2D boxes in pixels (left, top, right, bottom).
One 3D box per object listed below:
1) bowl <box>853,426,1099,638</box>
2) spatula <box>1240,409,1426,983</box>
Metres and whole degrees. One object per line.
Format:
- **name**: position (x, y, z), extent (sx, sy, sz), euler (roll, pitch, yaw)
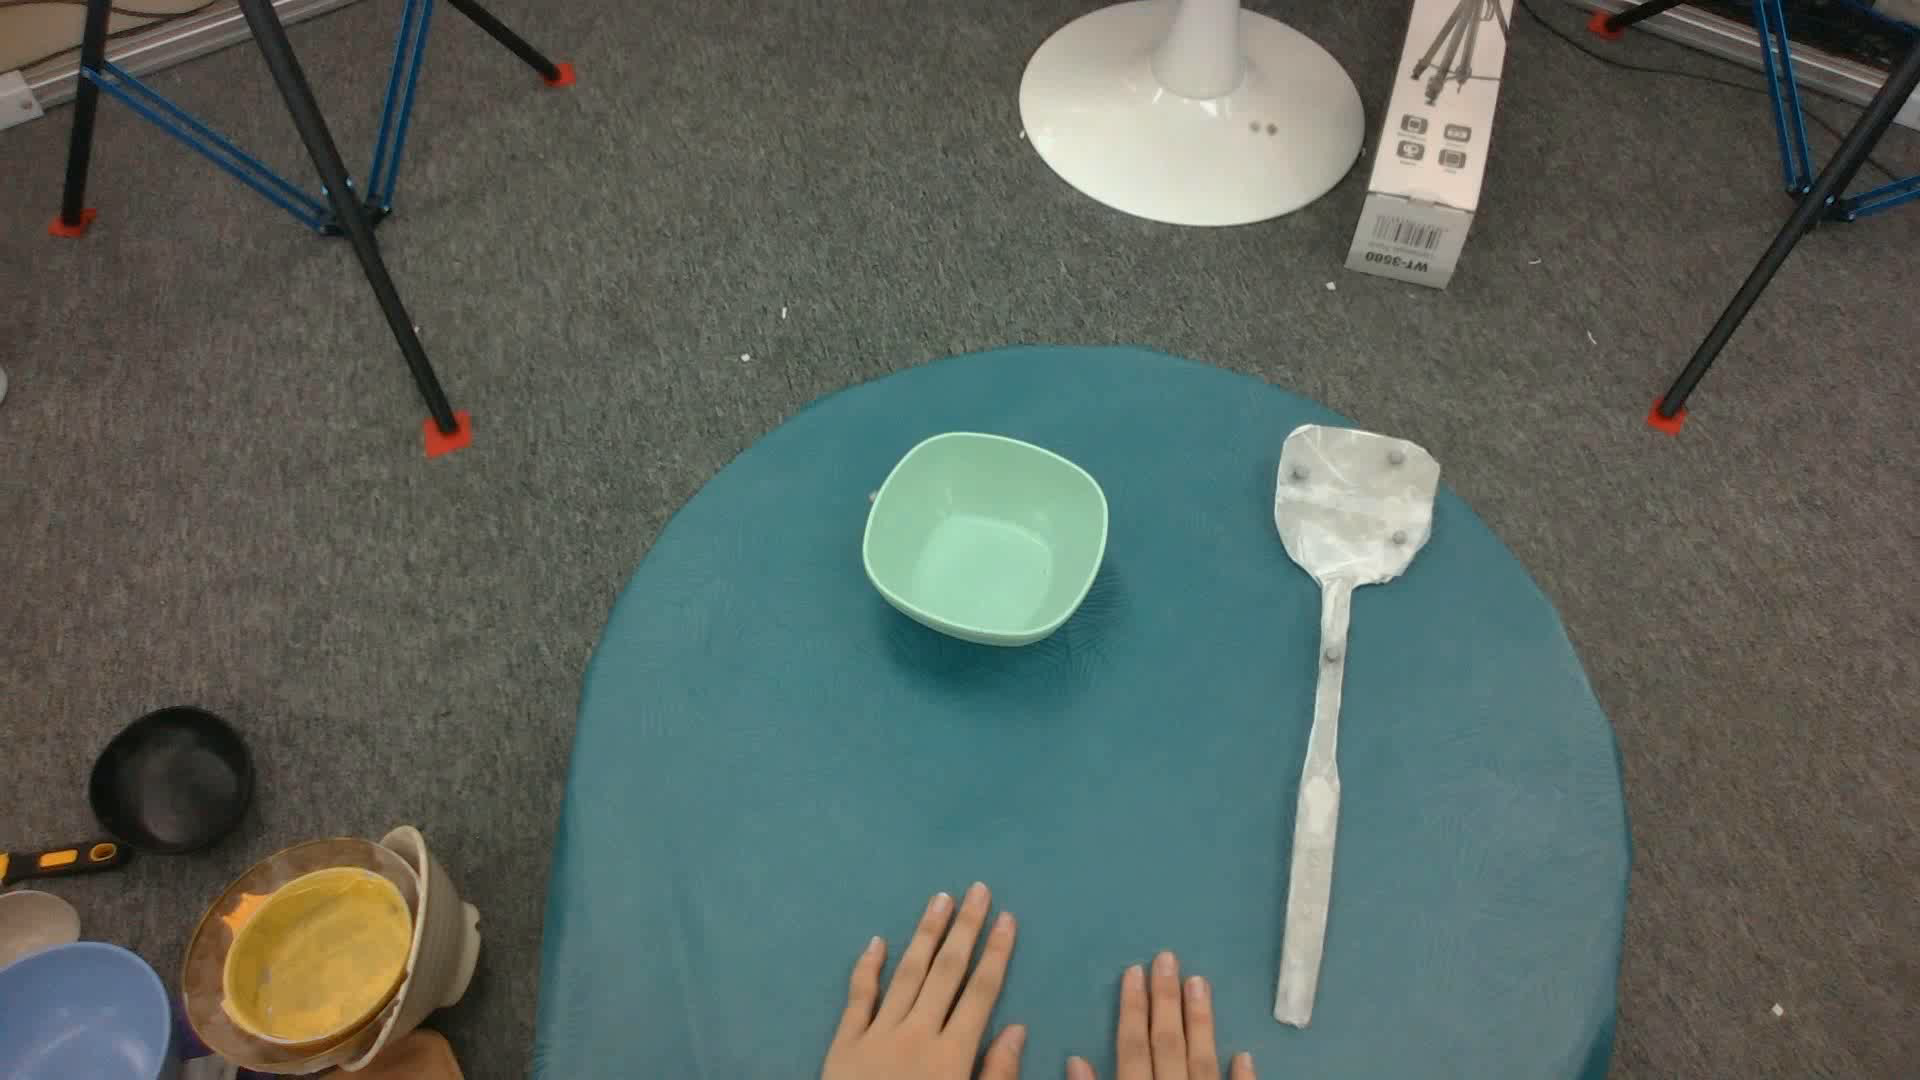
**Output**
- **bowl**: position (0.010, 0.004, 0.828), extent (0.151, 0.058, 0.152), euler (1, 55, -1)
- **spatula**: position (0.204, 0.076, 0.797), extent (0.098, 0.044, 0.366), euler (15, 56, 5)
